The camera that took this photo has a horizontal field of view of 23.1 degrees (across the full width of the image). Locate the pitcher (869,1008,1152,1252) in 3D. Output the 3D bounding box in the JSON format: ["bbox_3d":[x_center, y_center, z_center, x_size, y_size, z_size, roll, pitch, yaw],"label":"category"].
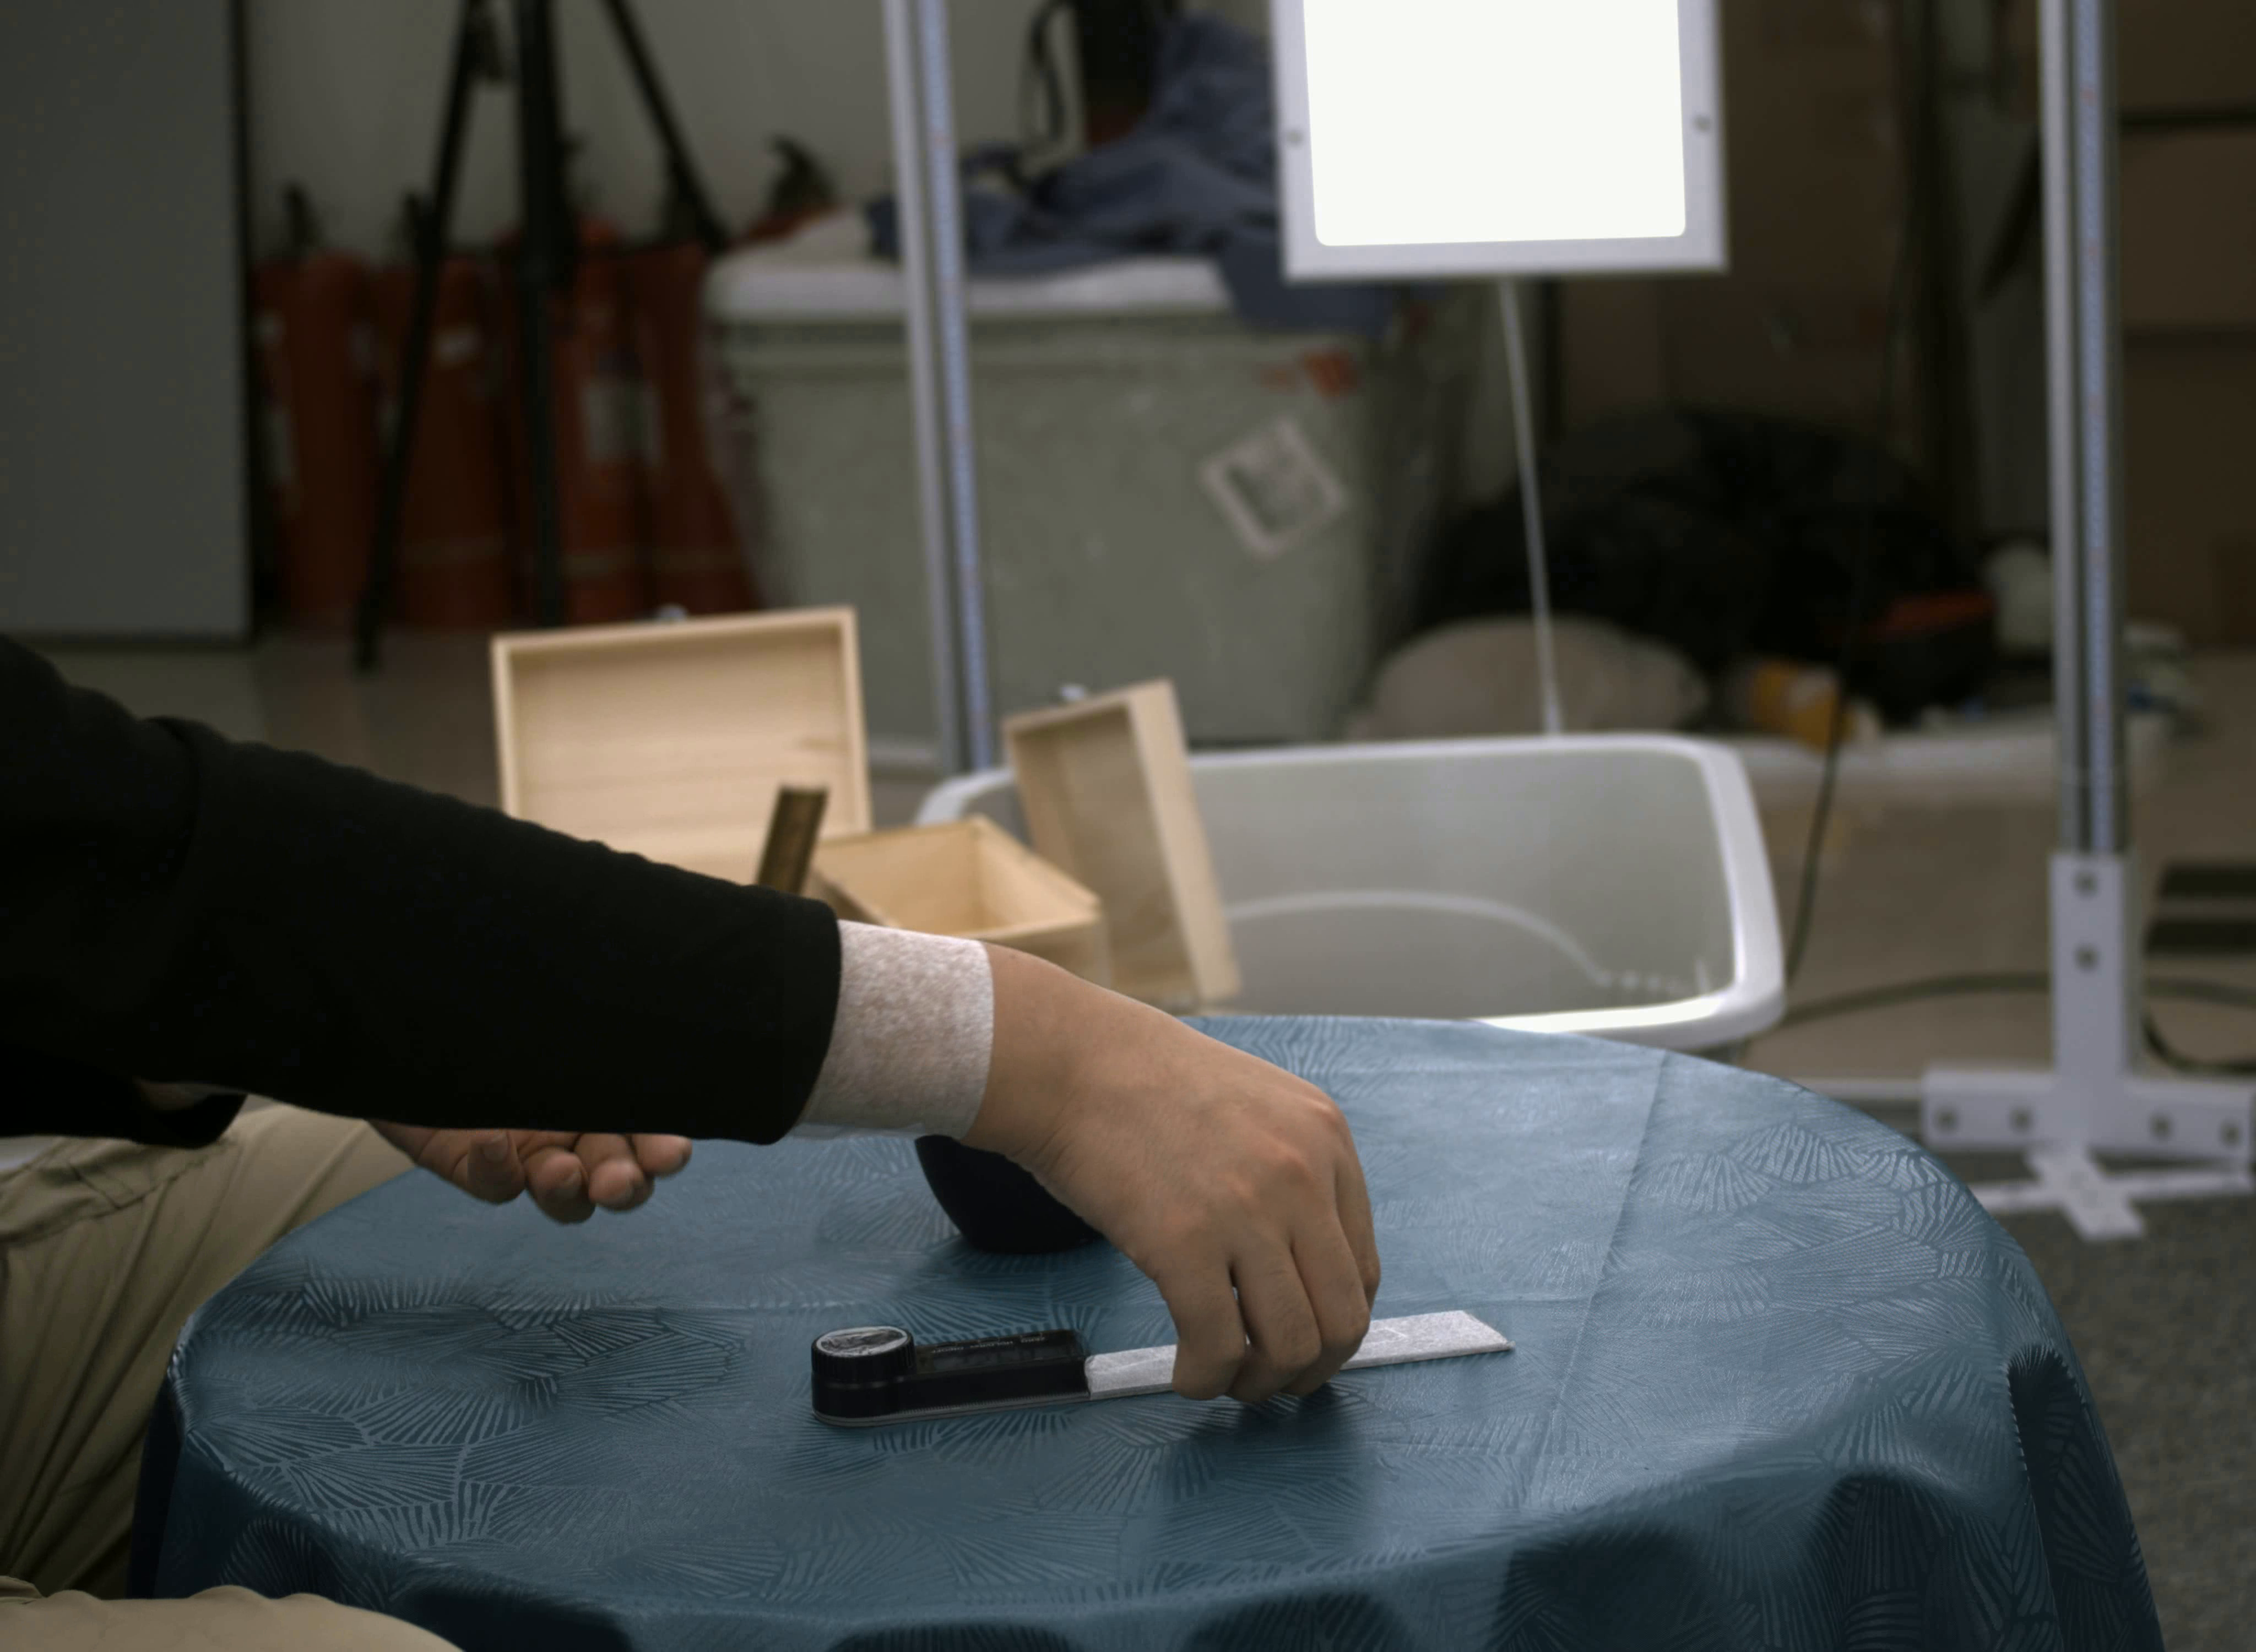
[{"bbox_3d":[-0.038,0.102,1.858,0.096,0.071,0.083,-1,15,11],"label":"pitcher"}]

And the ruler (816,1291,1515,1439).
[{"bbox_3d":[0.011,0.160,1.711,0.217,0.024,0.038,-7,22,-4],"label":"ruler"}]
